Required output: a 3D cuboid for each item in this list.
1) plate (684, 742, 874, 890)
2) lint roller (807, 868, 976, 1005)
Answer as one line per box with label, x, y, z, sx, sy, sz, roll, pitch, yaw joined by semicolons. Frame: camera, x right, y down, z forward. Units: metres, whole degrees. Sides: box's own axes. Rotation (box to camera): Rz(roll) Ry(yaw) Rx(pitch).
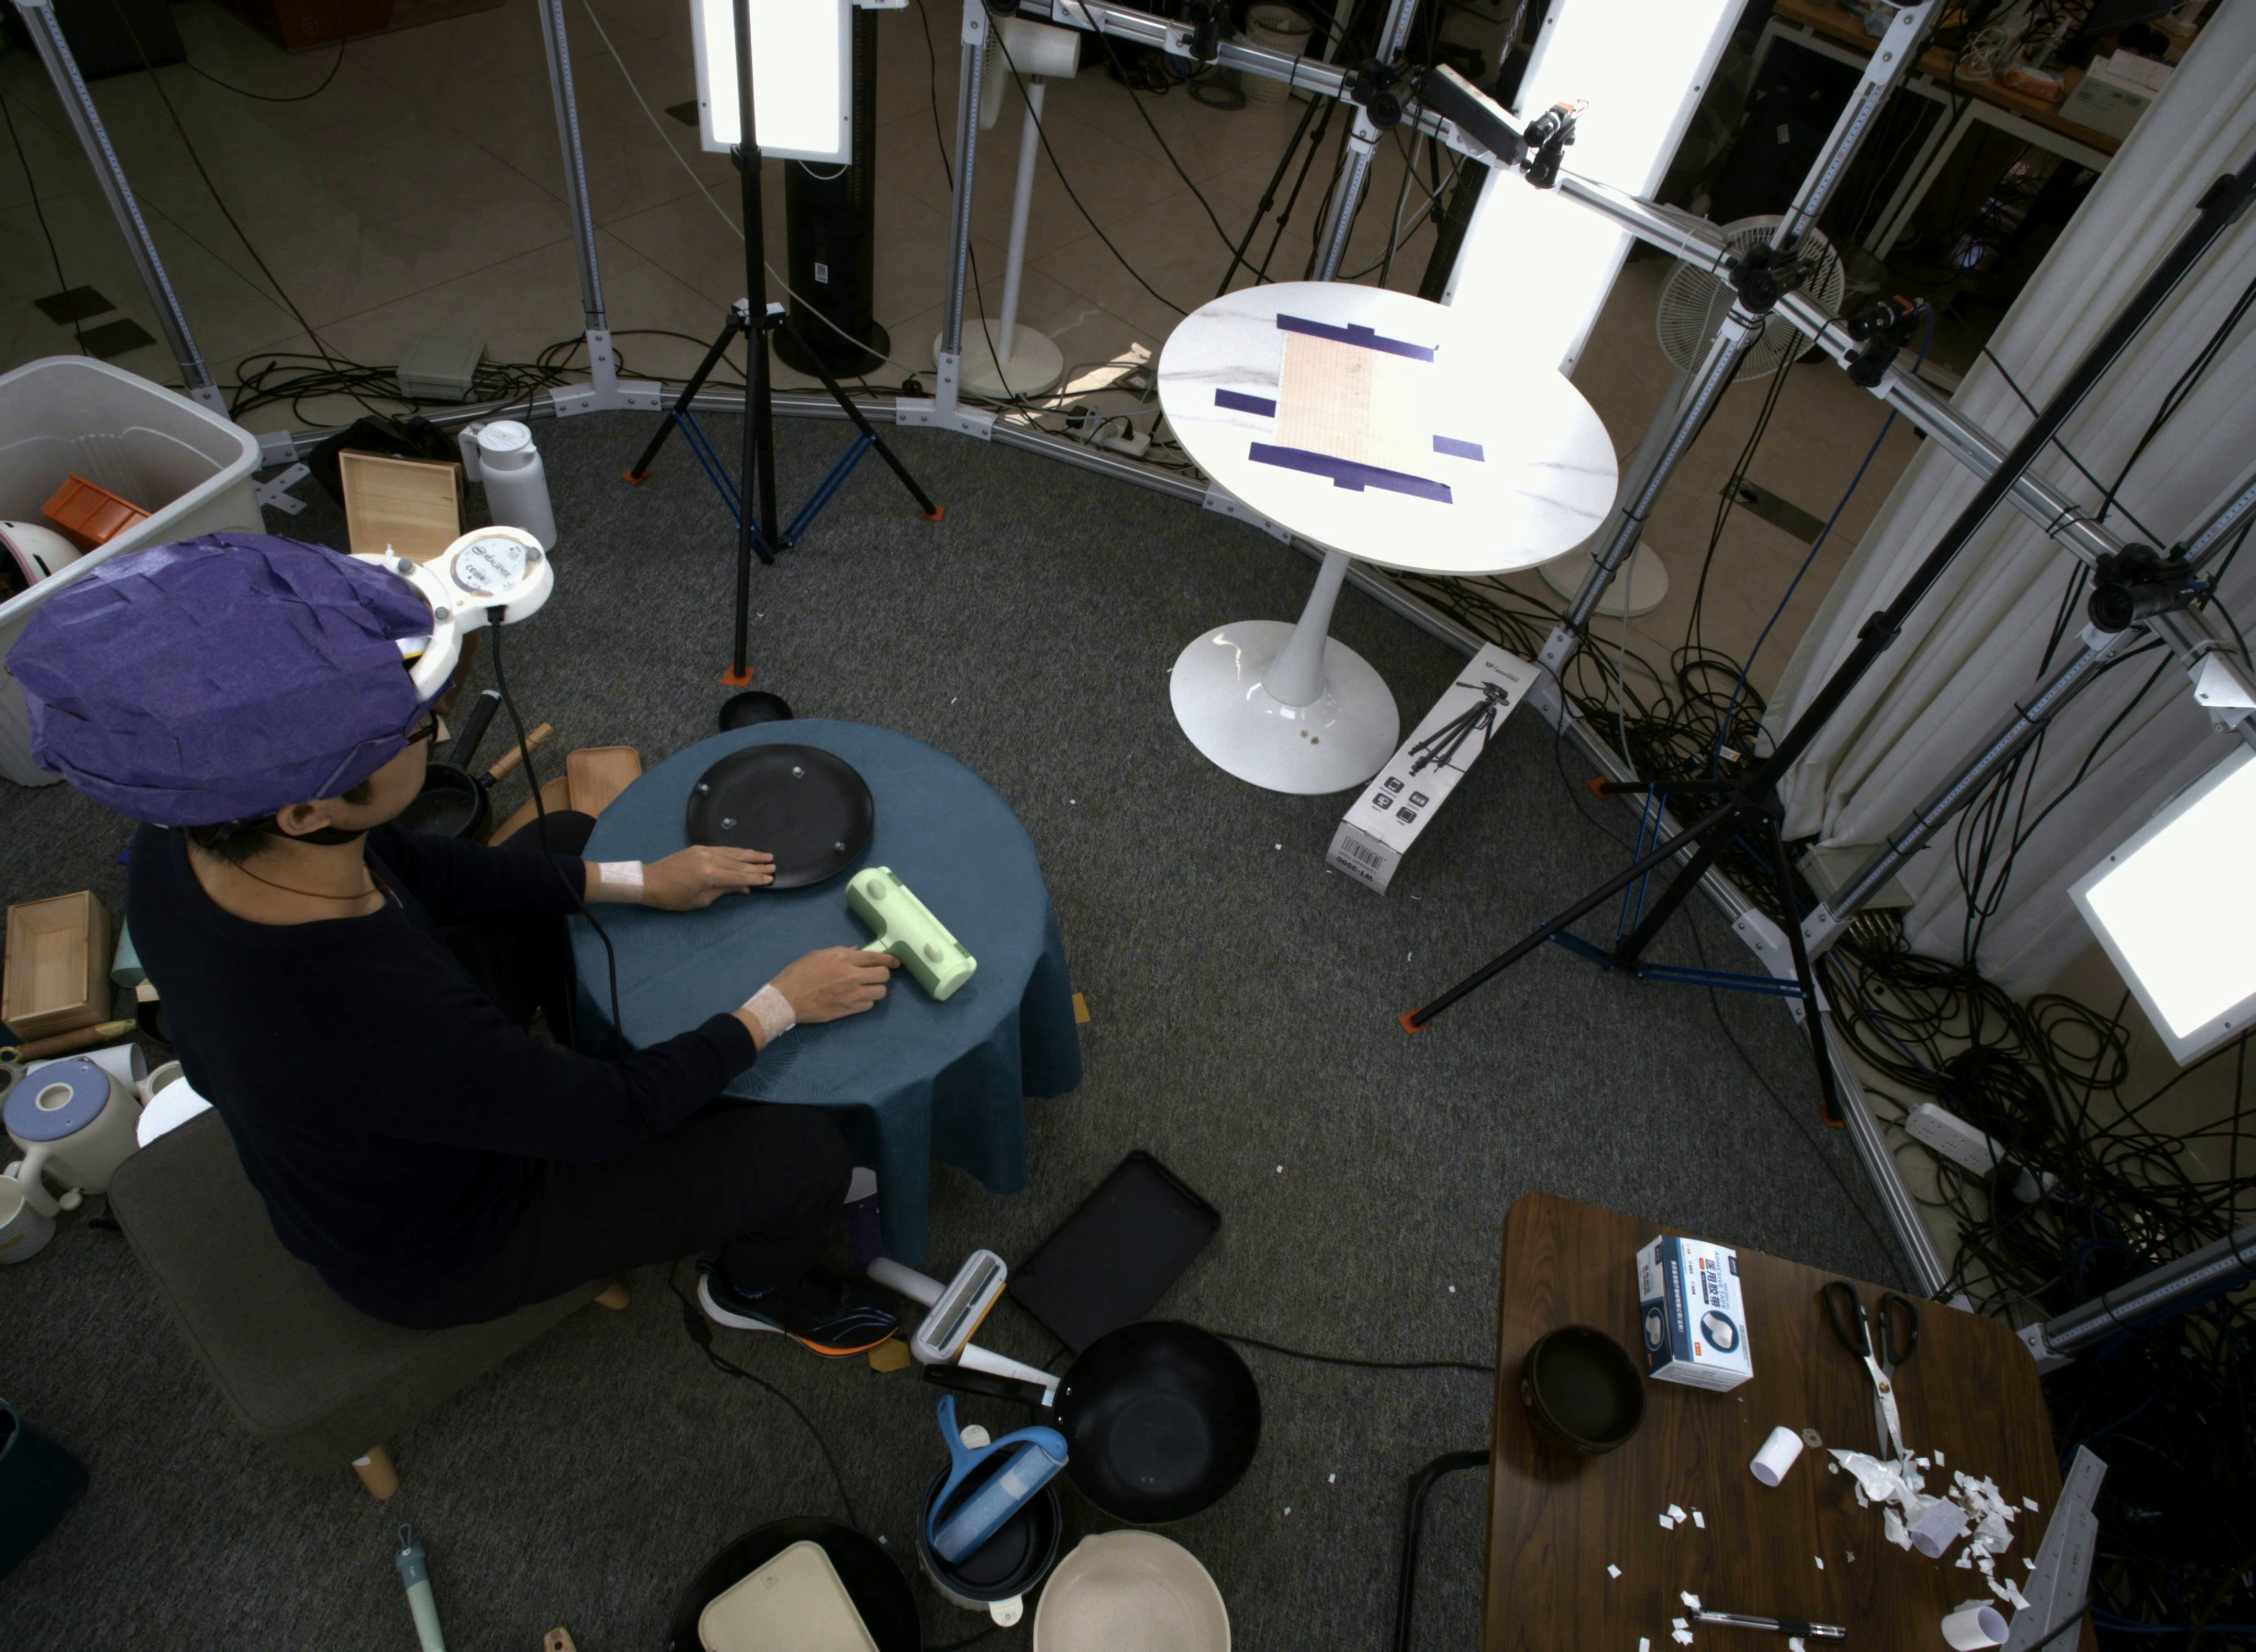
plate;-0.456;-0.012;1.699;0.244;0.024;0.240;8;52;-9
lint roller;-0.312;0.147;1.577;0.194;0.084;0.184;42;48;19
